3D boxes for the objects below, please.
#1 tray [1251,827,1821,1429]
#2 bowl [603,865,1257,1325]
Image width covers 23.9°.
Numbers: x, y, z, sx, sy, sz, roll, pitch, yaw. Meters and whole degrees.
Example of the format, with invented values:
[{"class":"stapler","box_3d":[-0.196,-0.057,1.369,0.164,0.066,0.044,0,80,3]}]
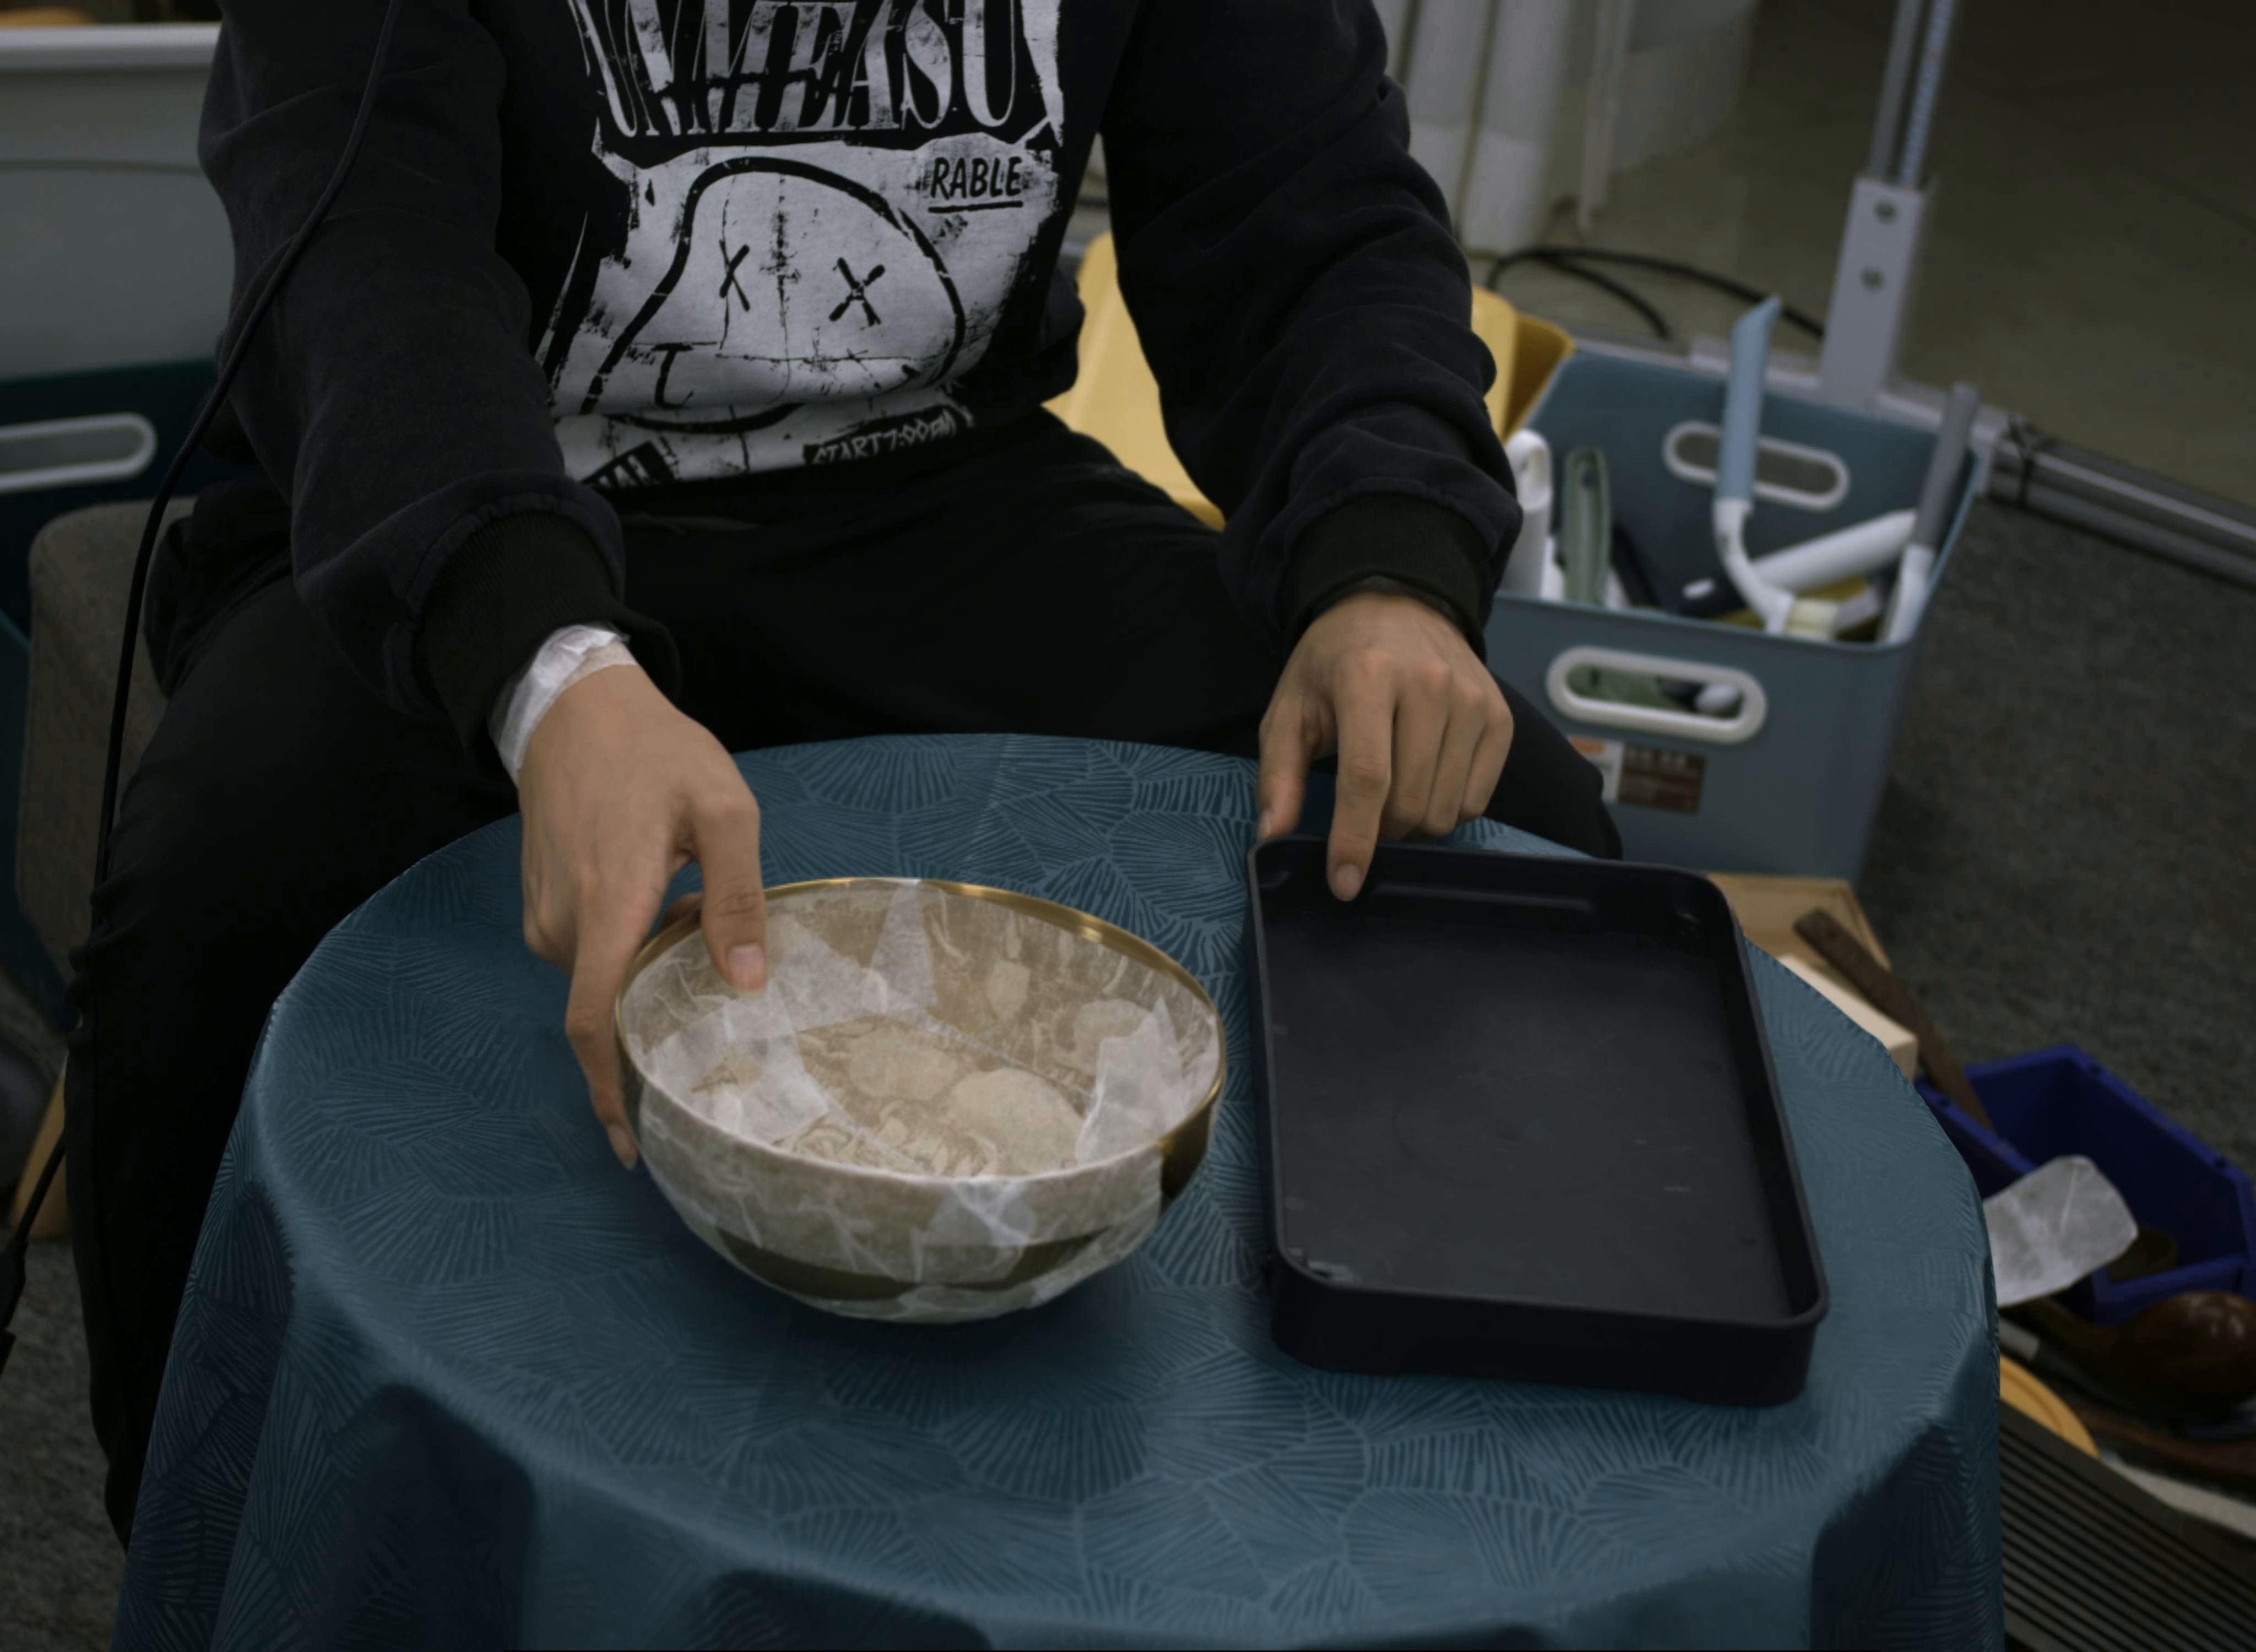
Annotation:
[{"class":"tray","box_3d":[0.134,0.098,1.846,0.184,0.037,0.320,7,28,-2]},{"class":"bowl","box_3d":[-0.068,0.099,1.730,0.214,0.094,0.216,4,26,-2]}]
